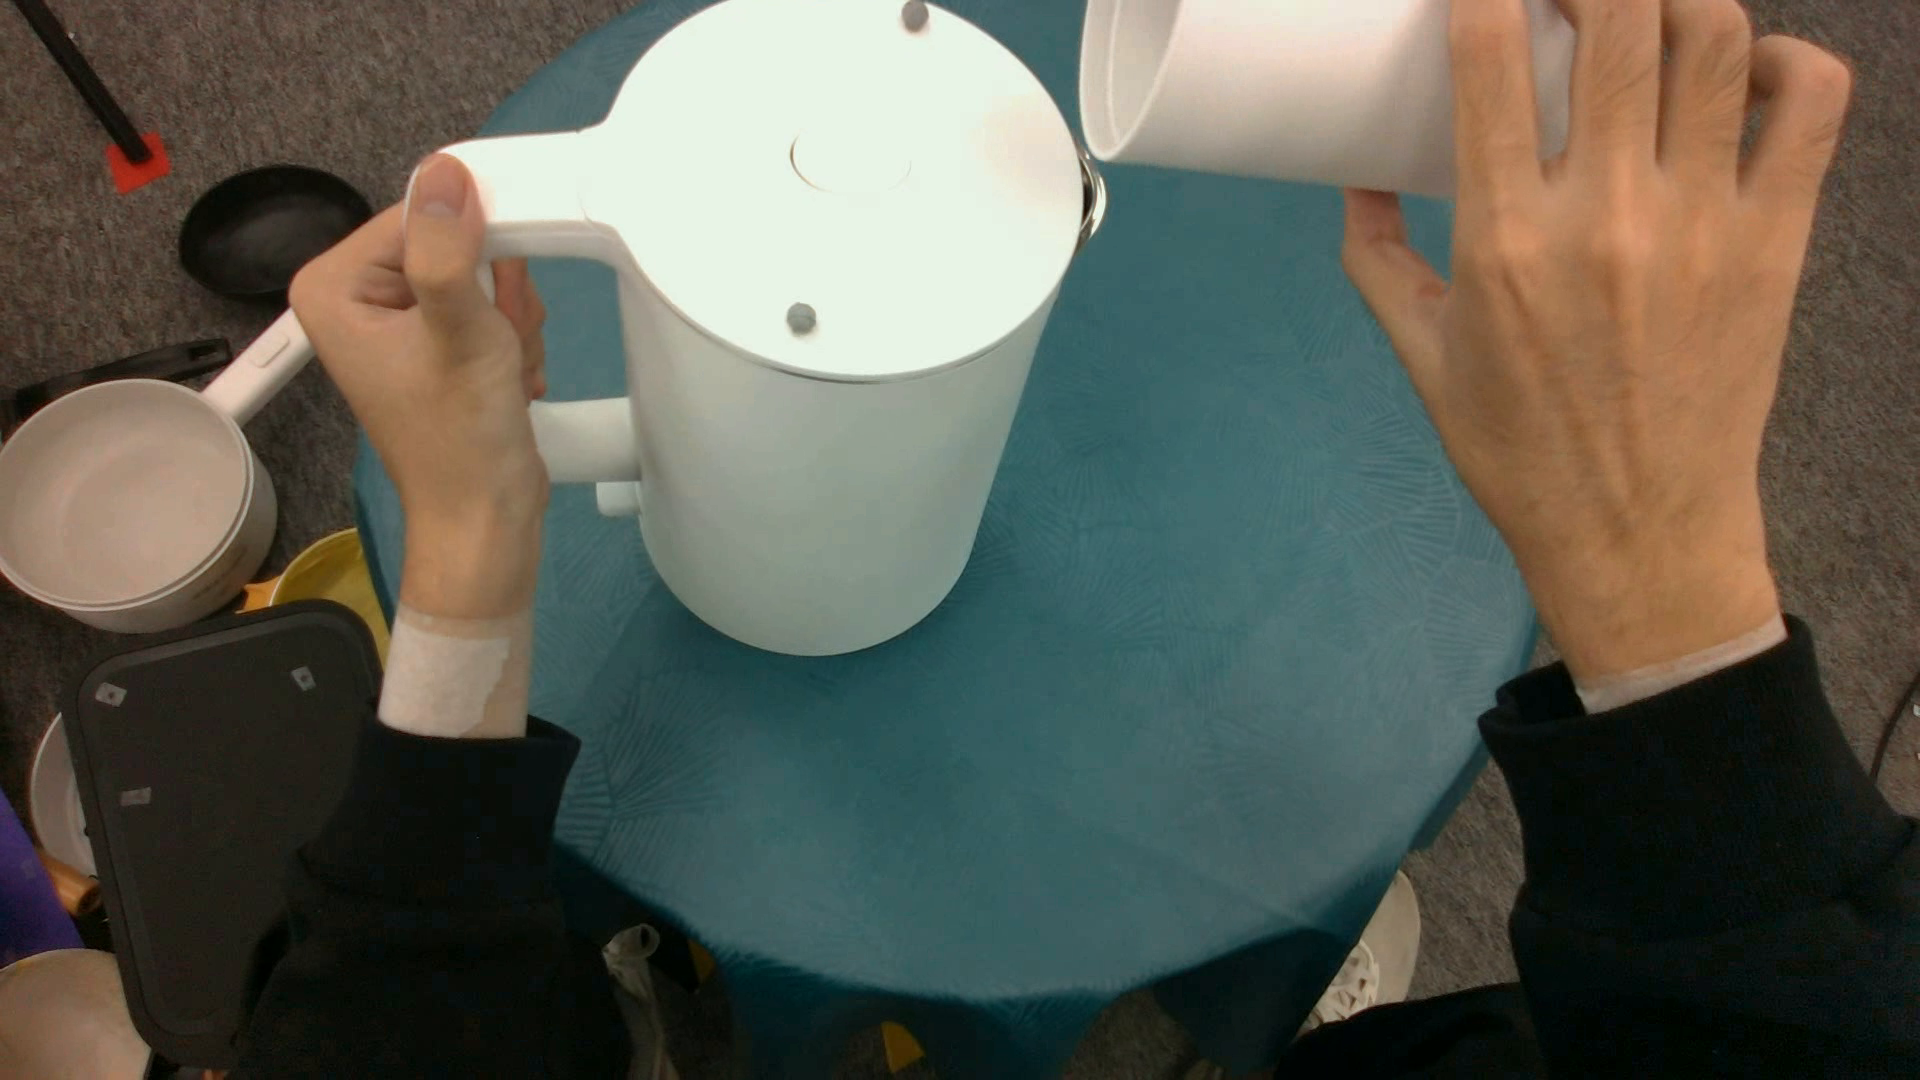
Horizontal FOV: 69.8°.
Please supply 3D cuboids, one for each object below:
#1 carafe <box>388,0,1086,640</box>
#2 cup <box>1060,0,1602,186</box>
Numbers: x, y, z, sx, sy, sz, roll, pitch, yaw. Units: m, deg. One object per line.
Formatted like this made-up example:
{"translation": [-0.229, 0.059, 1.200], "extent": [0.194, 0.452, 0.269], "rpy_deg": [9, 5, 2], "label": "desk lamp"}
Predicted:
{"translation": [-0.083, -0.072, 0.510], "extent": [0.213, 0.239, 0.152], "rpy_deg": [-4, 66, -13], "label": "carafe"}
{"translation": [0.098, -0.139, 0.372], "extent": [0.125, 0.081, 0.082], "rpy_deg": [3, 67, -12], "label": "cup"}
